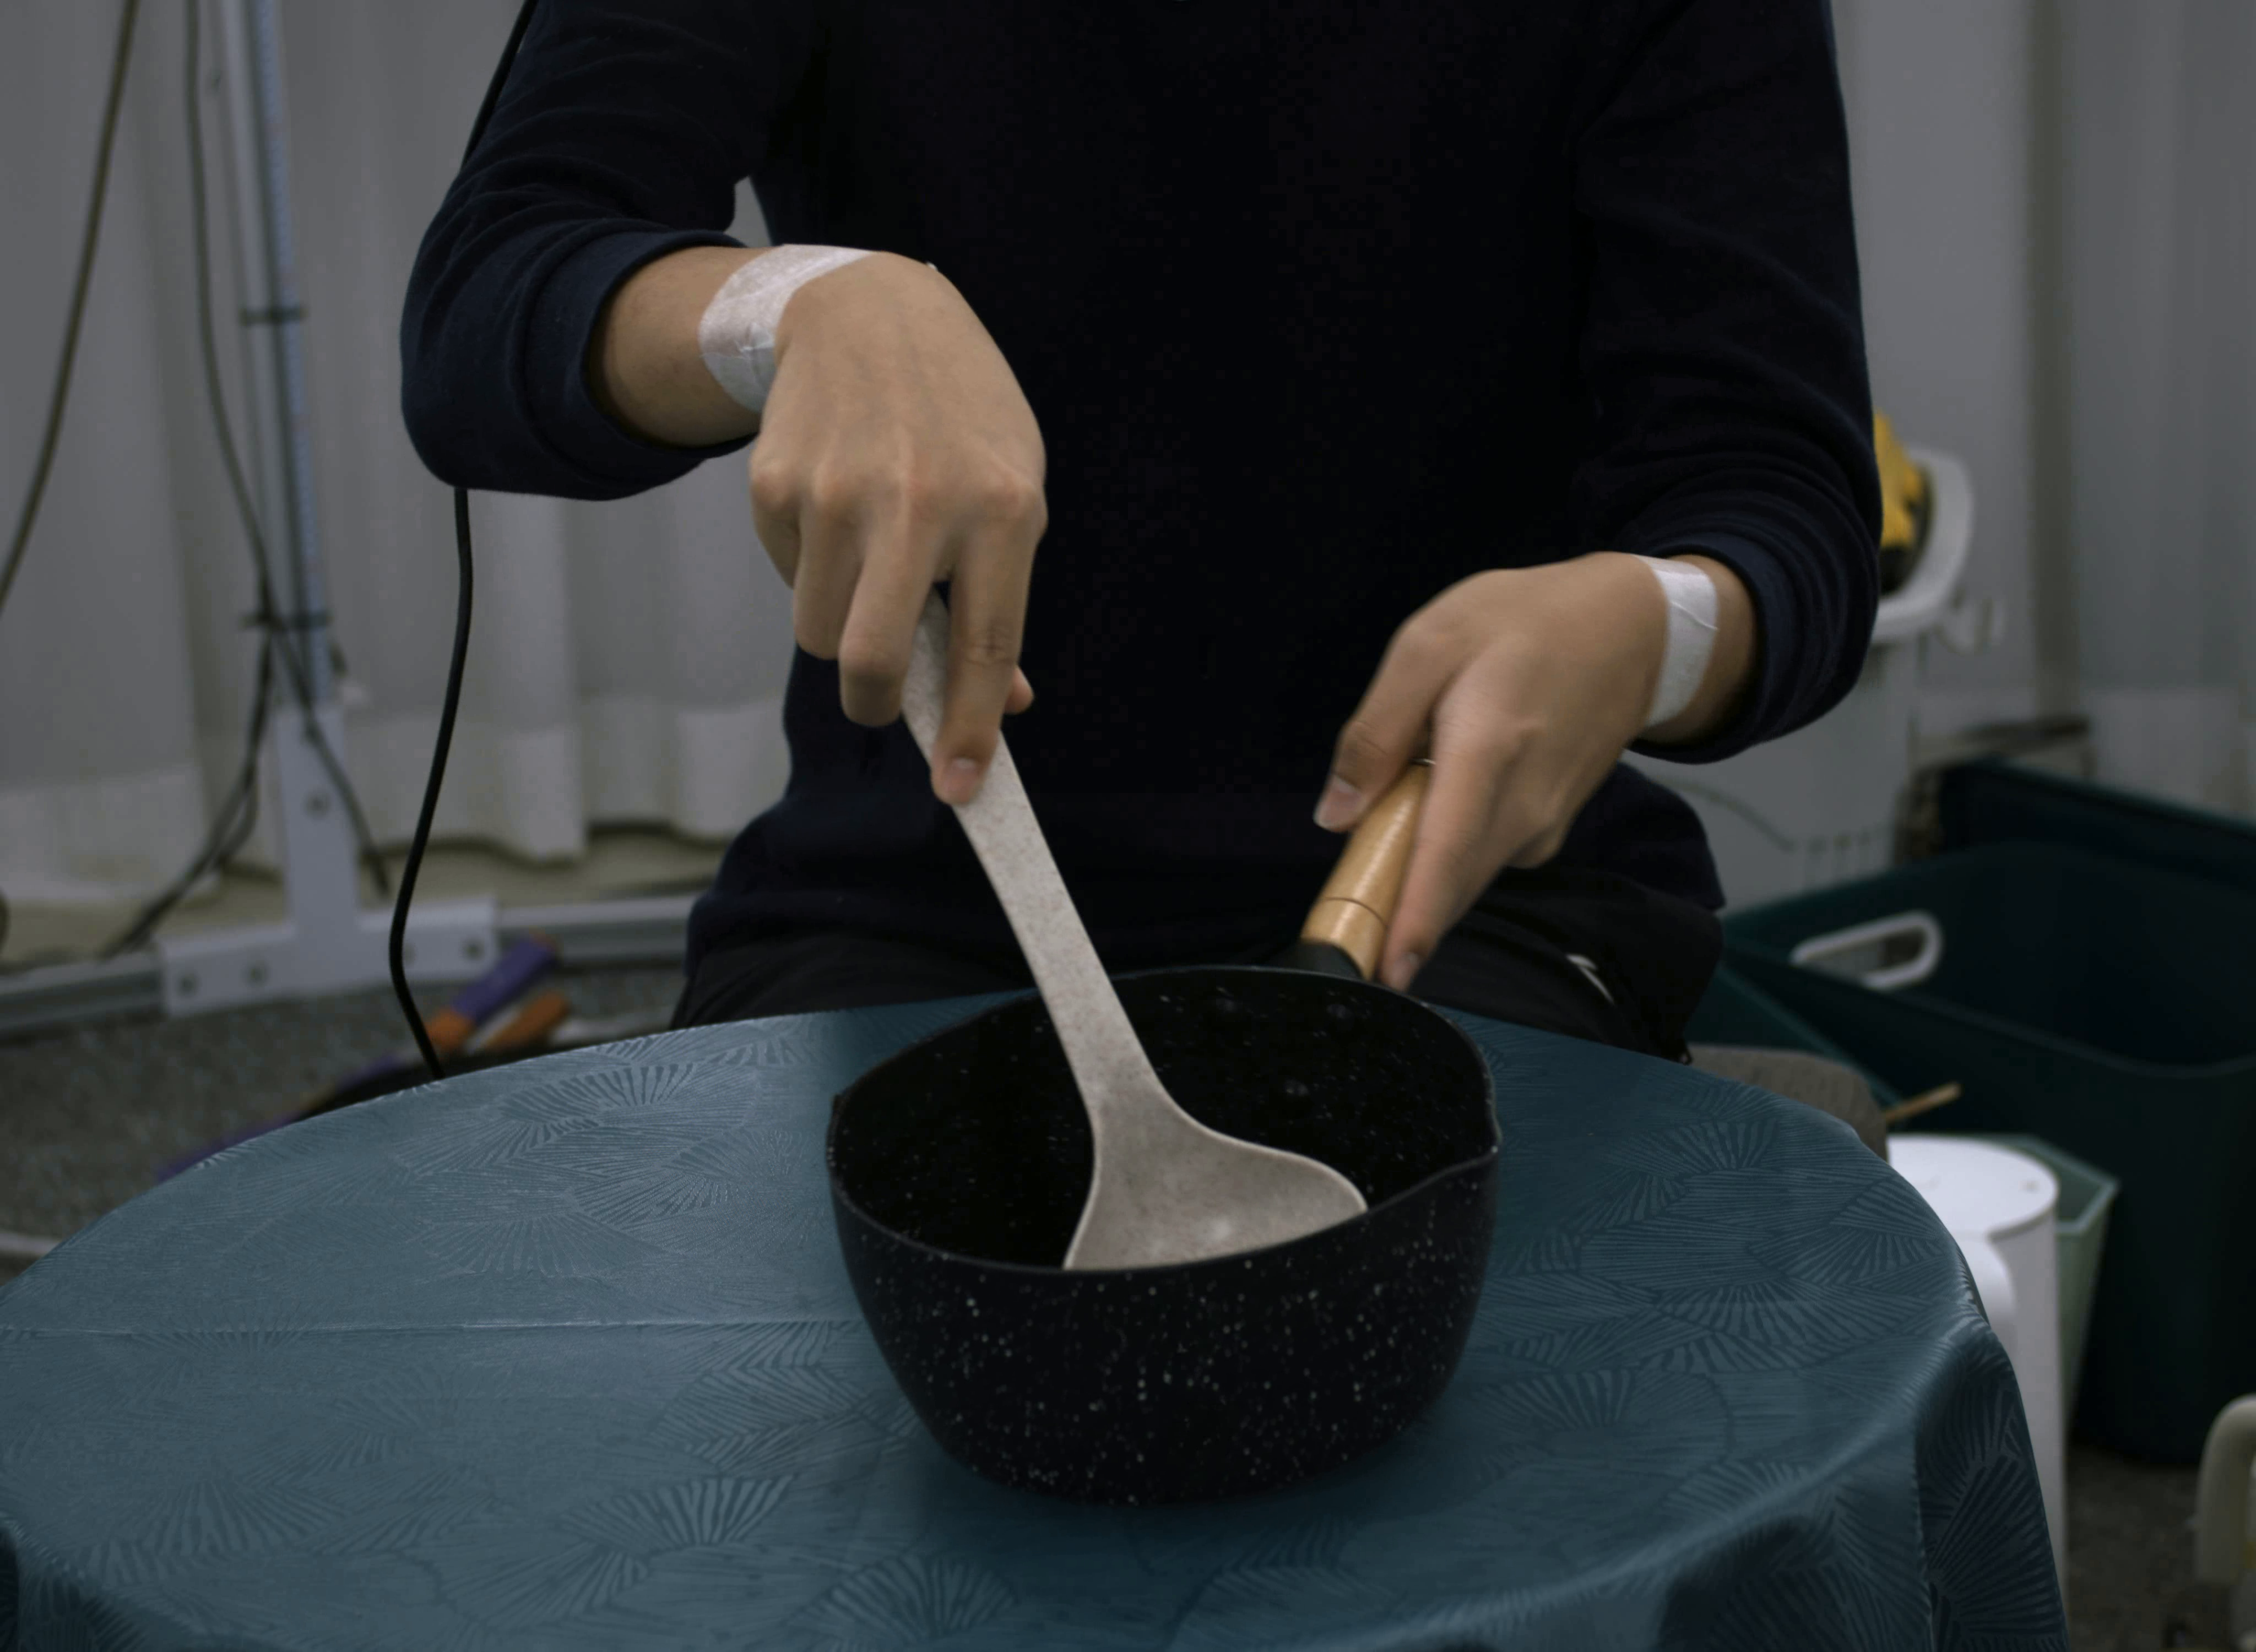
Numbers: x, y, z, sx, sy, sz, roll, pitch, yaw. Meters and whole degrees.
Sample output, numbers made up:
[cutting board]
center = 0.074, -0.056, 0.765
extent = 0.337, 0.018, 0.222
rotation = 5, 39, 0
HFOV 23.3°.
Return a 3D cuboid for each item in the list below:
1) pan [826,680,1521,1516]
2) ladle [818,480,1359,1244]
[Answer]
[pan]
center = 0.044, 0.073, 1.572
extent = 0.208, 0.107, 0.345
rotation = 3, 26, 25
[ladle]
center = -0.022, 0.020, 1.539
extent = 0.089, 0.276, 0.069
rotation = -23, -6, -12
